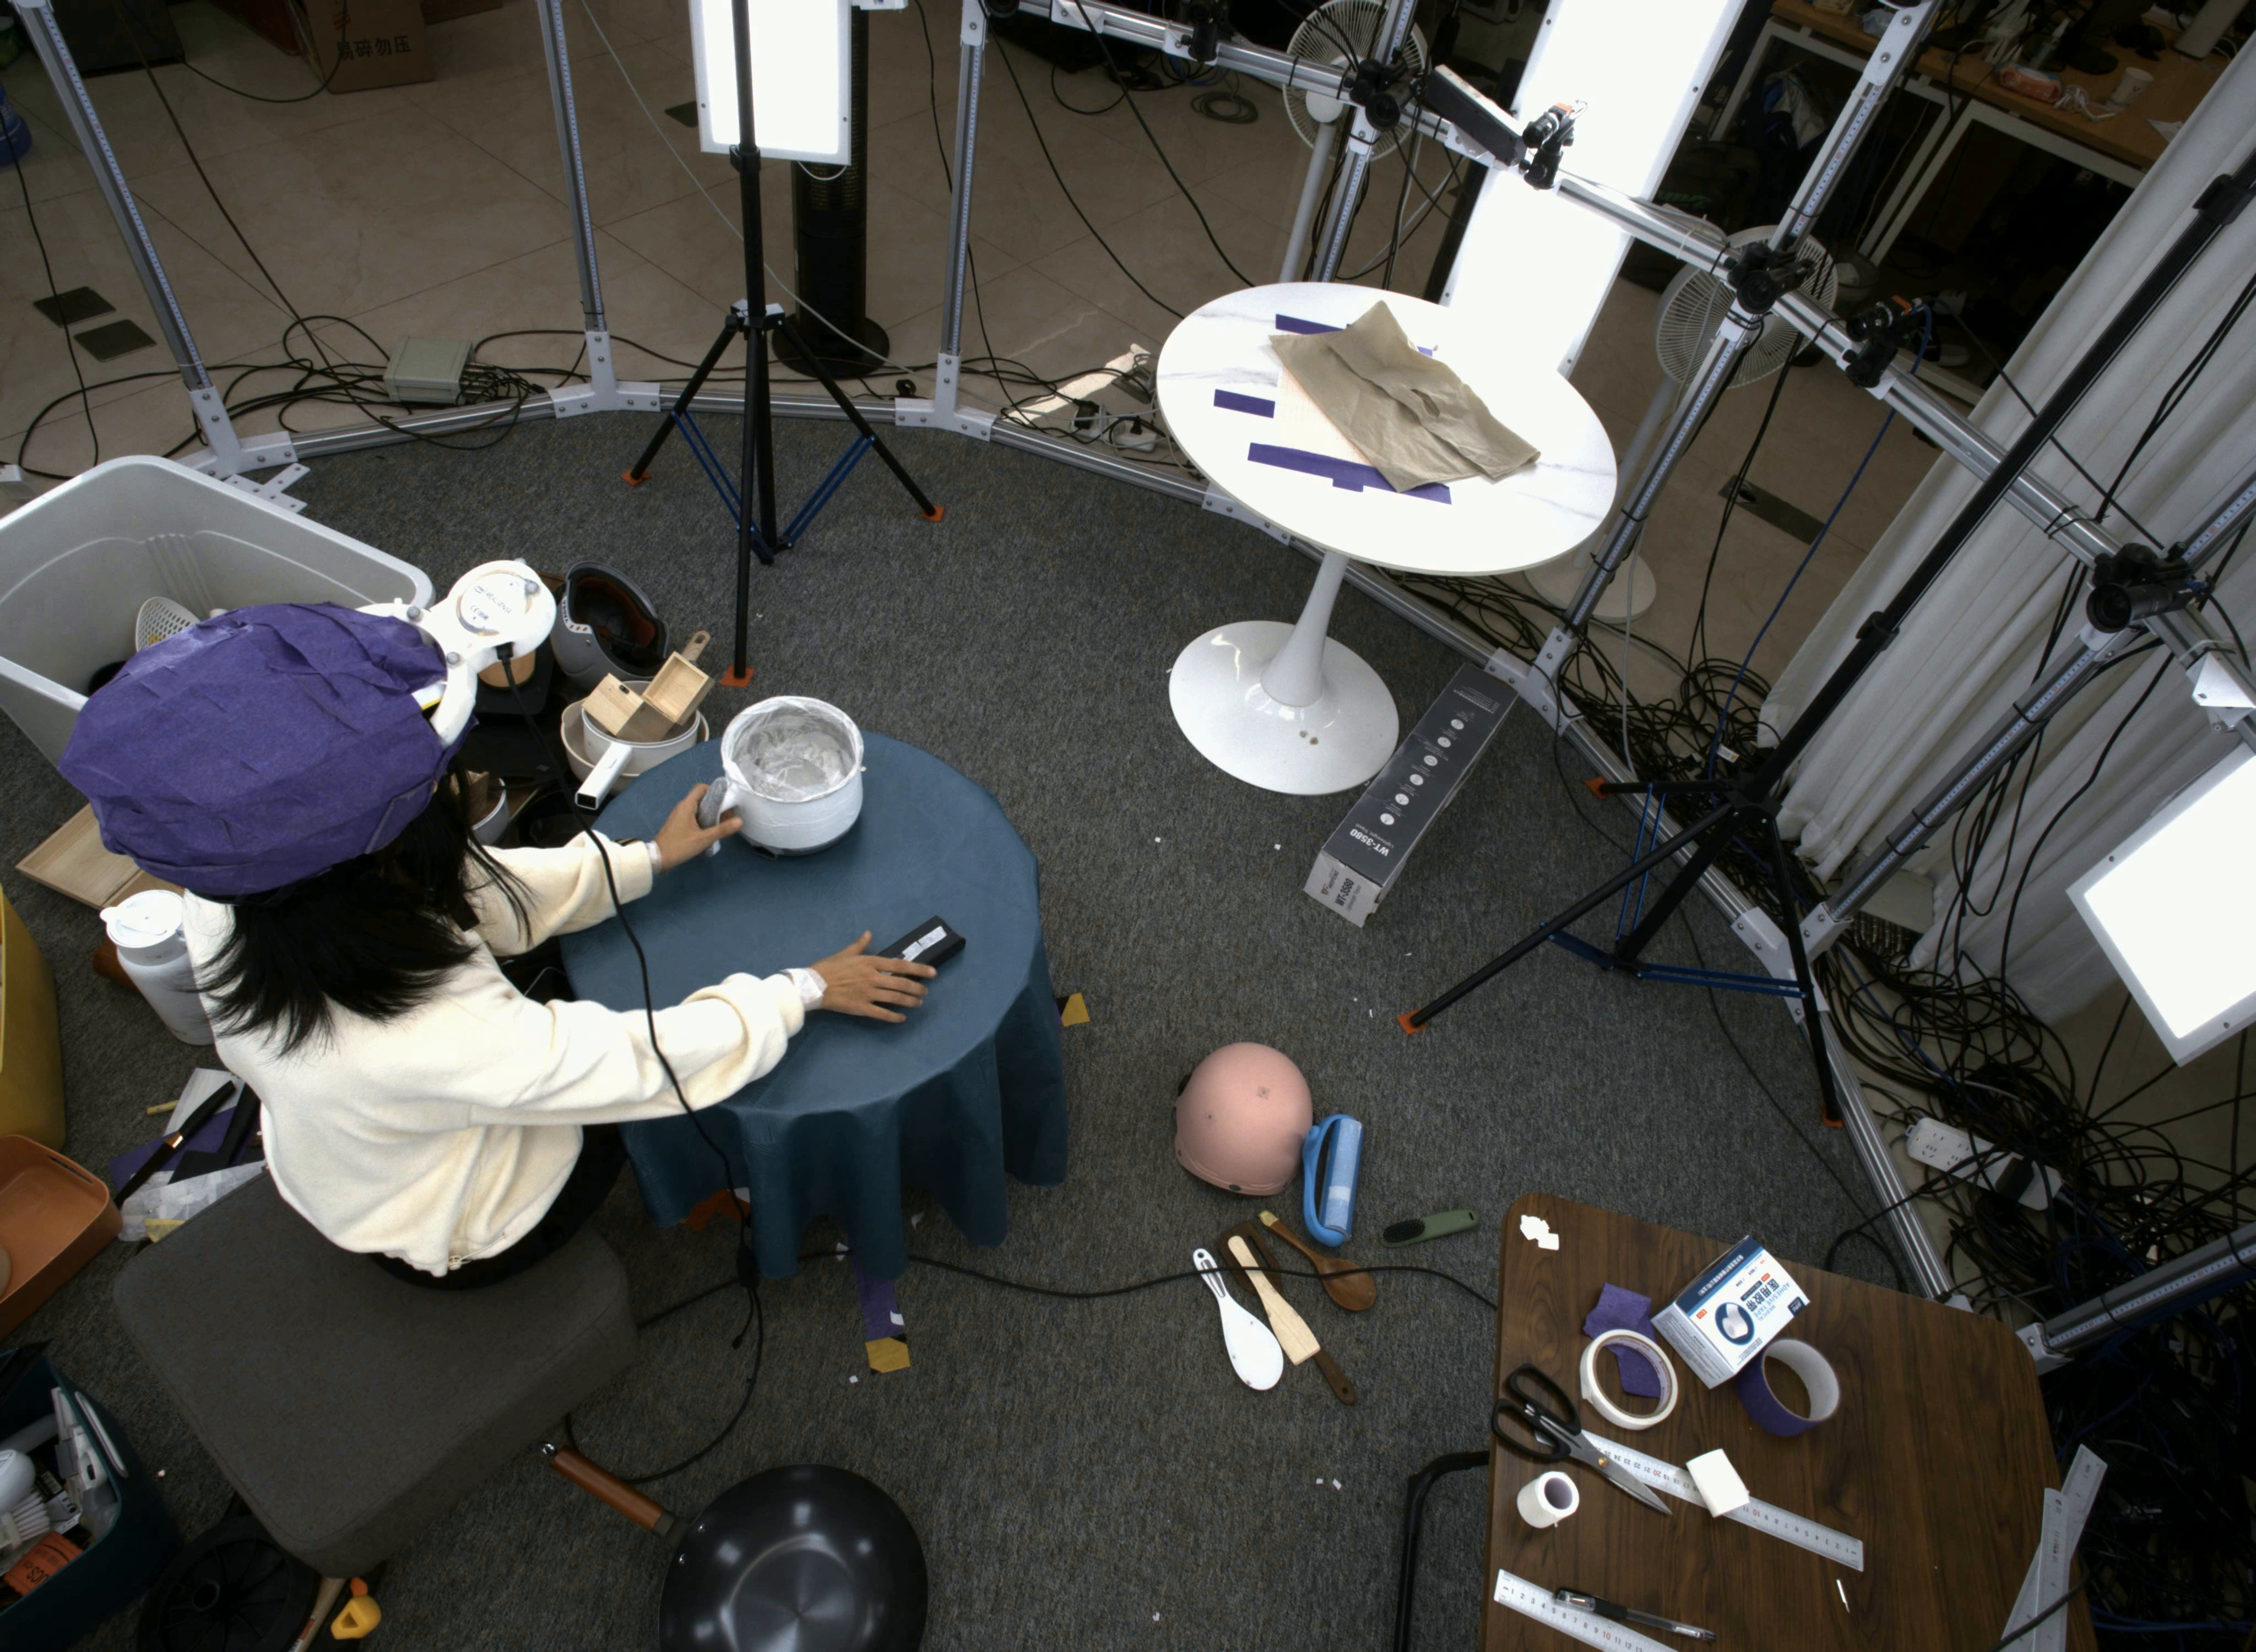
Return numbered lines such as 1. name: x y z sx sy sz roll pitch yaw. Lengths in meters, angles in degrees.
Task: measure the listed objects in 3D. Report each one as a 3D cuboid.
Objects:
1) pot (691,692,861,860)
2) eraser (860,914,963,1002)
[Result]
1. pot: -0.454 -0.050 1.659 0.234 0.139 0.174 -34 67 -33
2. eraser: -0.269 0.161 1.622 0.052 0.031 0.126 42 56 19
